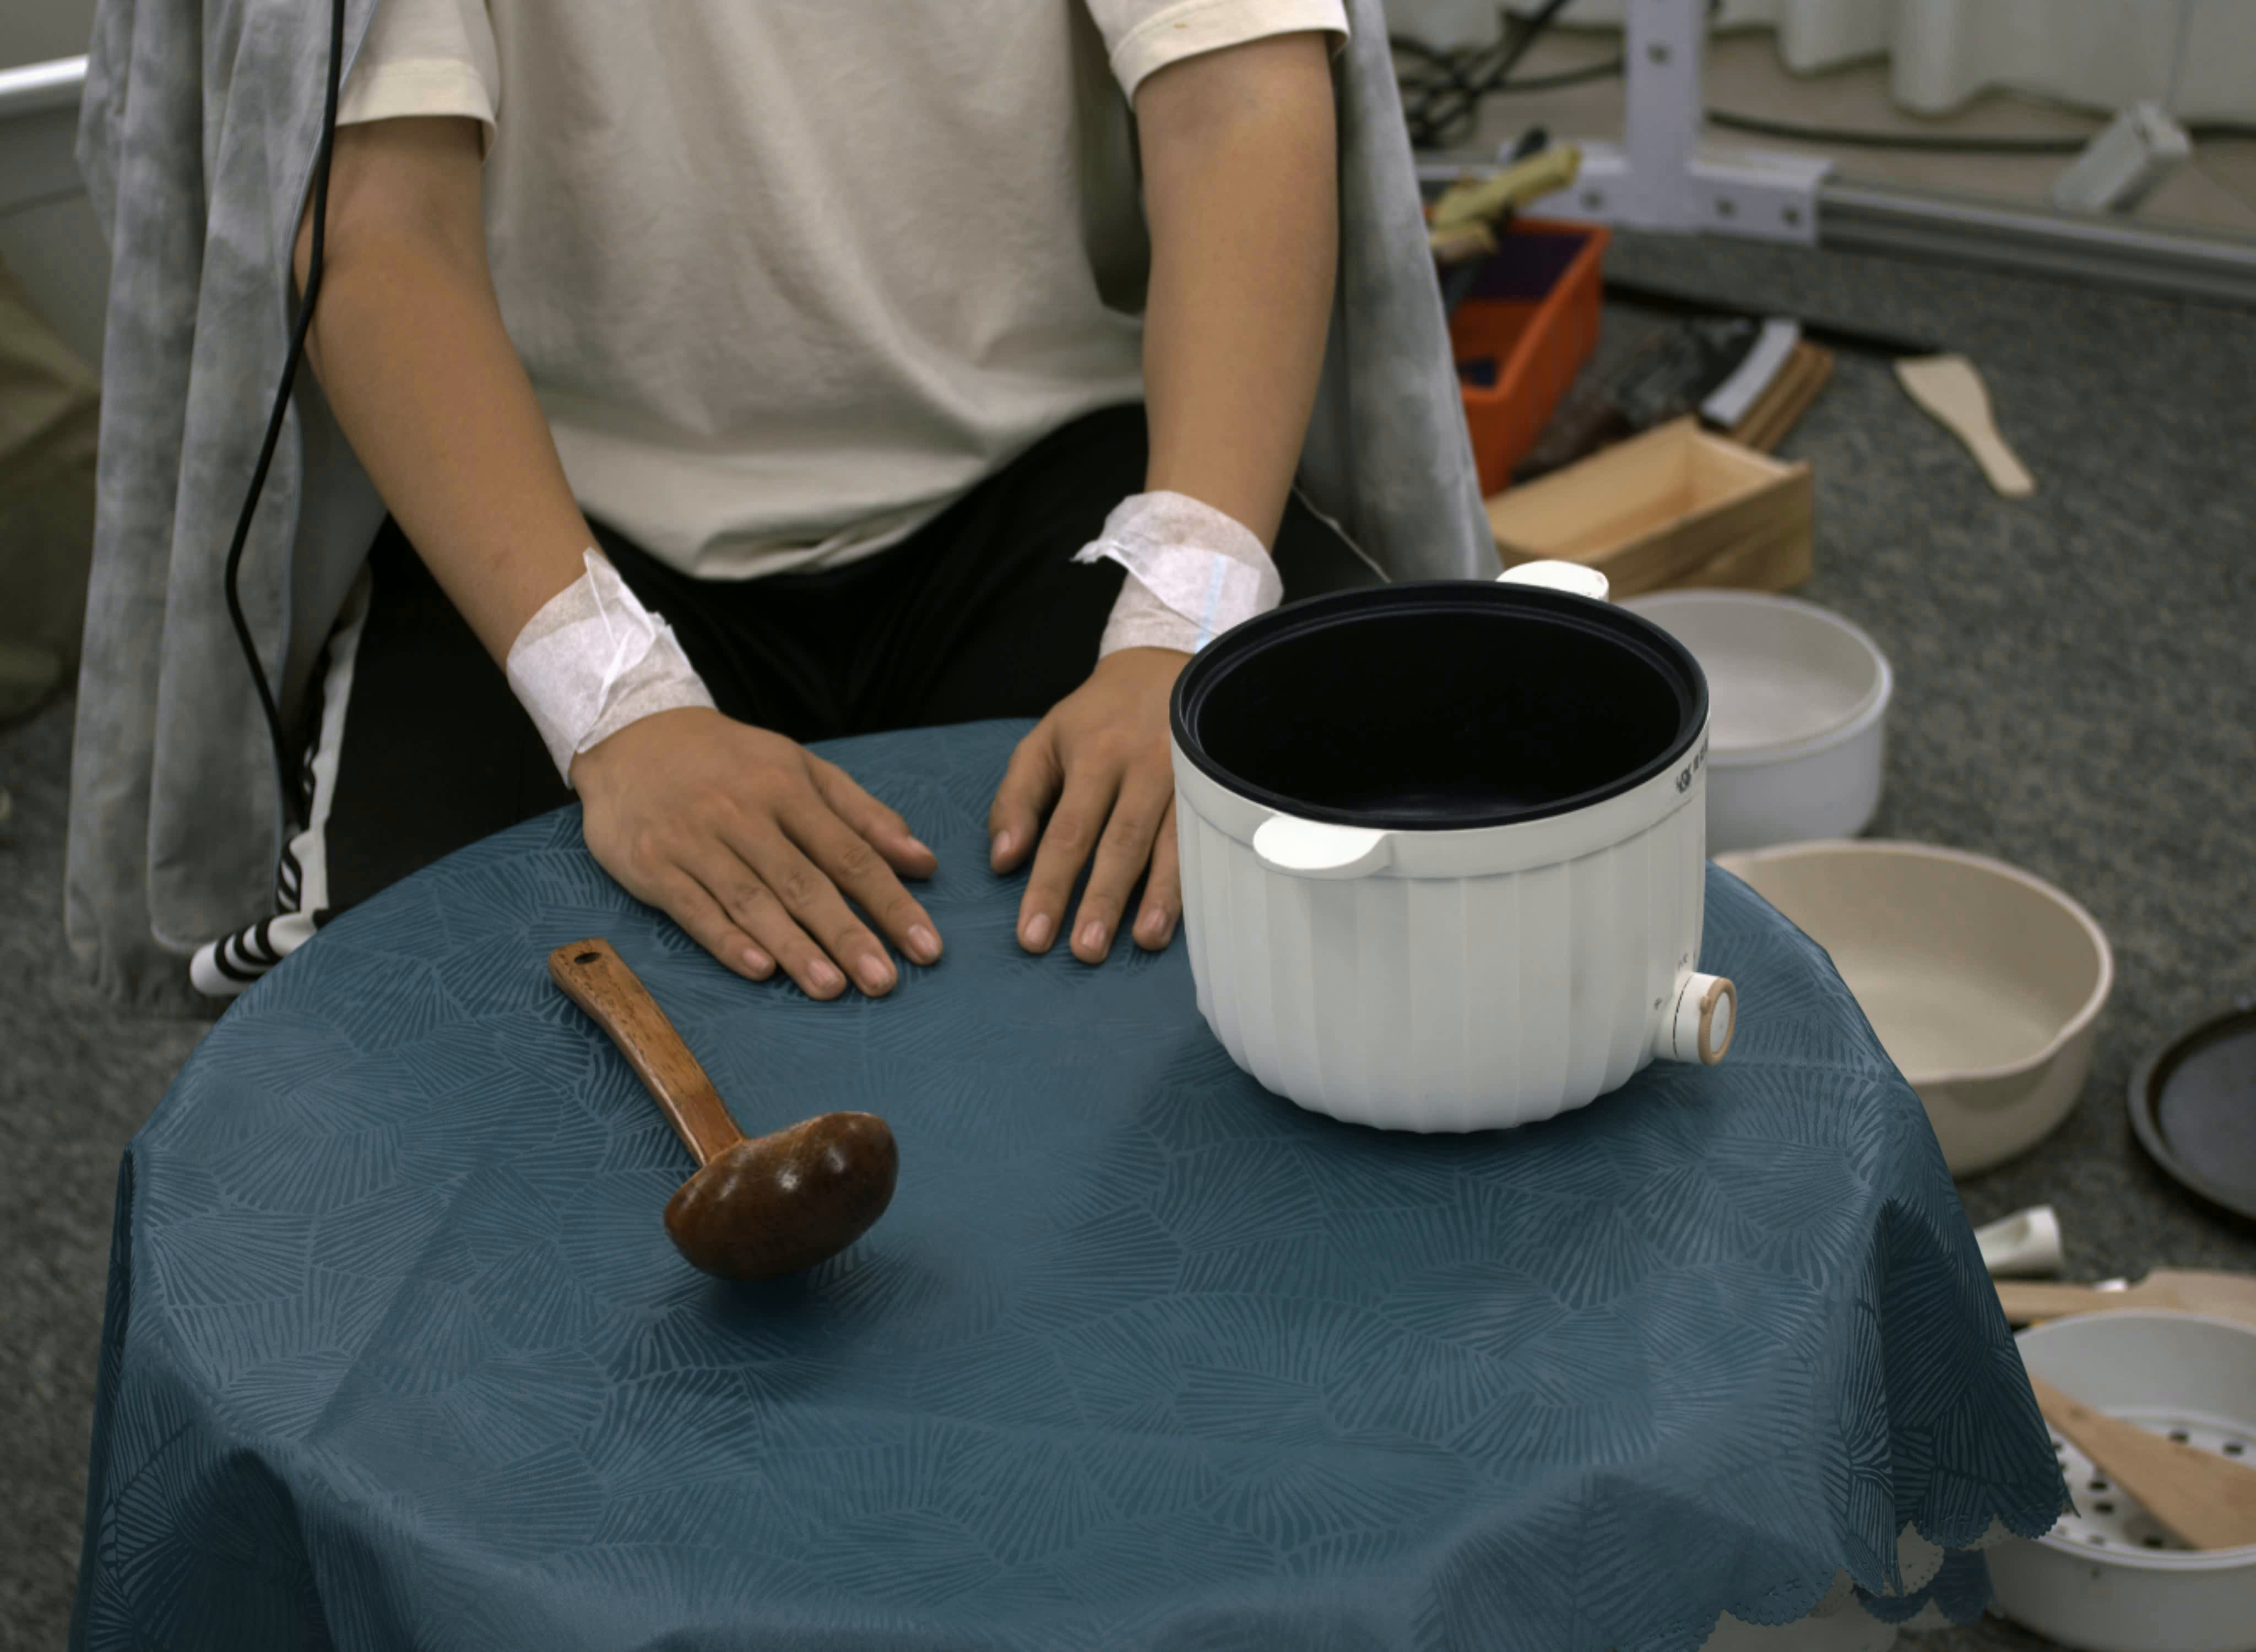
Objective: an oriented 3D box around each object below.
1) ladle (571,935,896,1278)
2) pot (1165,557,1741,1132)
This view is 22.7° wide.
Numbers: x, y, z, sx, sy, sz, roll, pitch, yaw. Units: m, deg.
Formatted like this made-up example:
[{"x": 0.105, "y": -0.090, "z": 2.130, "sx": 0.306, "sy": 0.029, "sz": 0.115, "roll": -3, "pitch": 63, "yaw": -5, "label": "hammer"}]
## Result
[{"x": -0.149, "y": 0.074, "z": 1.883, "sx": 0.082, "sy": 0.076, "sz": 0.276, "roll": -13, "pitch": 29, "yaw": -16, "label": "ladle"}, {"x": 0.112, "y": 0.014, "z": 1.907, "sx": 0.189, "sy": 0.141, "sz": 0.244, "roll": 6, "pitch": 29, "yaw": 25, "label": "pot"}]
